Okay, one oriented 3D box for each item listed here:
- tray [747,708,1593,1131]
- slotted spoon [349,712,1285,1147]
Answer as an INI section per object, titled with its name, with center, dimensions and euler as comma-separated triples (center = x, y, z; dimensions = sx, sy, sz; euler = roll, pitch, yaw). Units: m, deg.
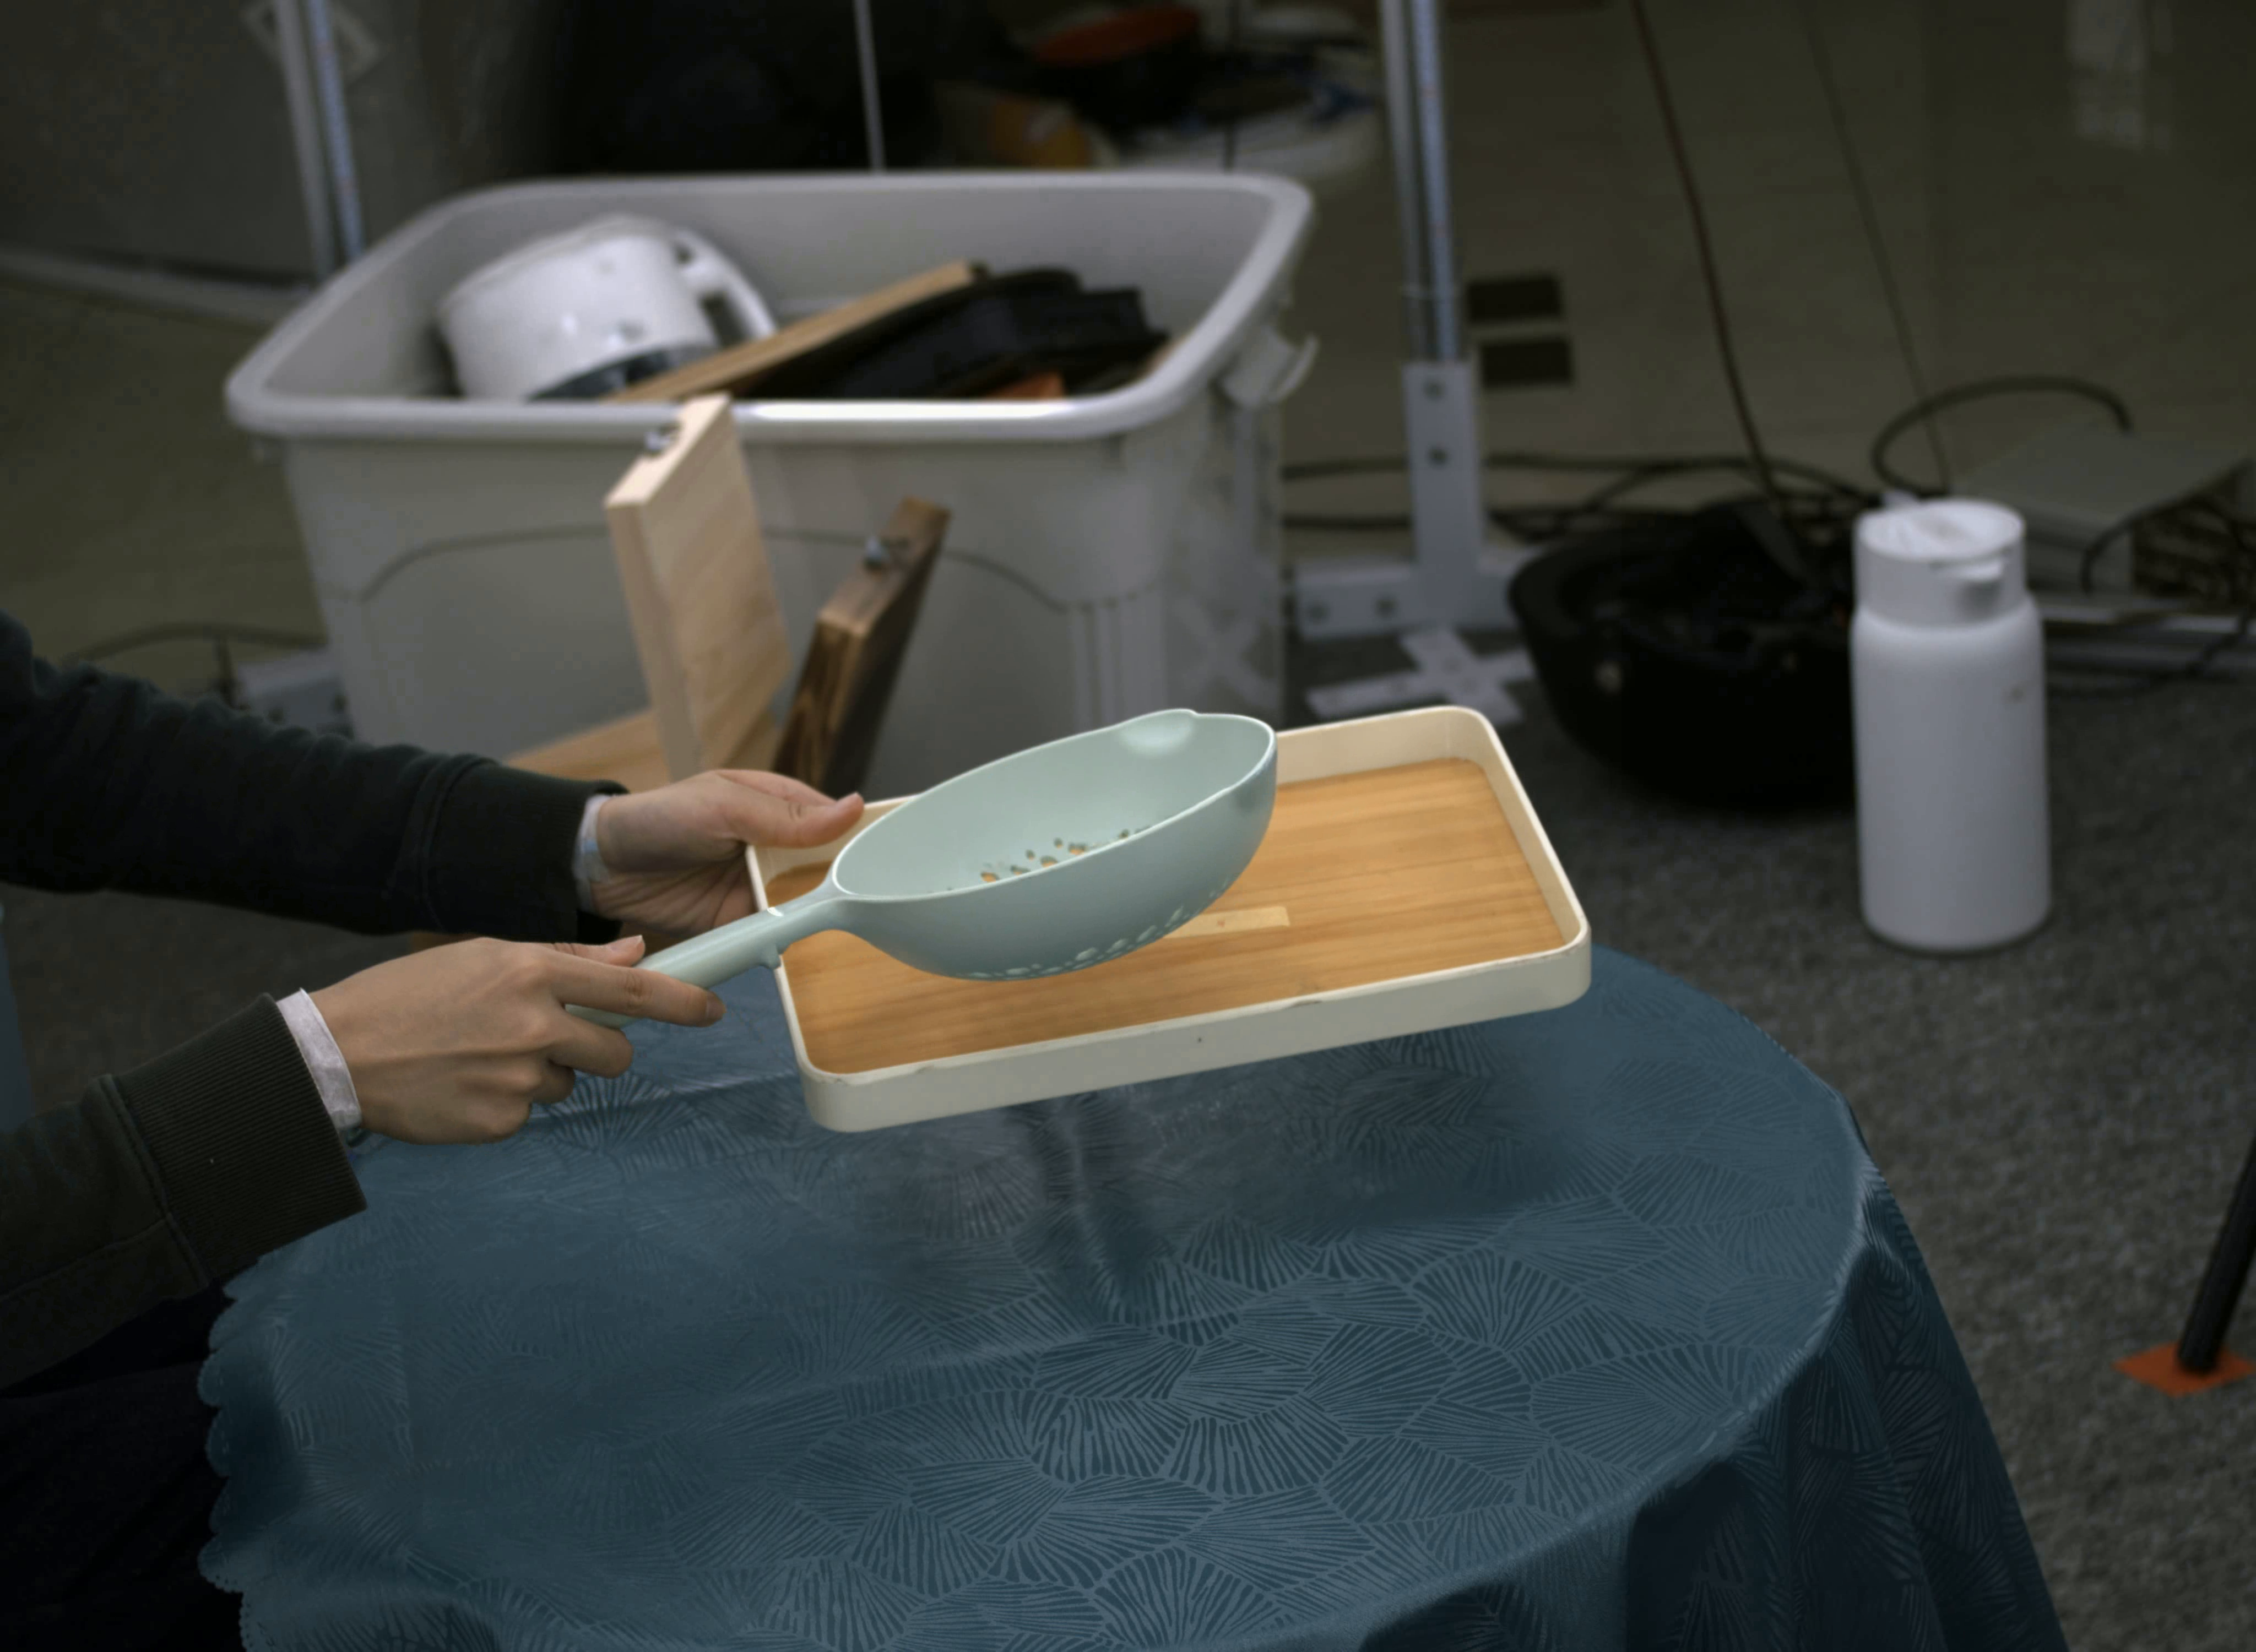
[tray]
center = 0.013, 0.033, 2.161
dimensions = 0.299, 0.028, 0.188
euler = -10, 32, -6
[slotted spoon]
center = -0.111, 0.038, 2.037
dimensions = 0.358, 0.076, 0.168
euler = -13, 13, -13
